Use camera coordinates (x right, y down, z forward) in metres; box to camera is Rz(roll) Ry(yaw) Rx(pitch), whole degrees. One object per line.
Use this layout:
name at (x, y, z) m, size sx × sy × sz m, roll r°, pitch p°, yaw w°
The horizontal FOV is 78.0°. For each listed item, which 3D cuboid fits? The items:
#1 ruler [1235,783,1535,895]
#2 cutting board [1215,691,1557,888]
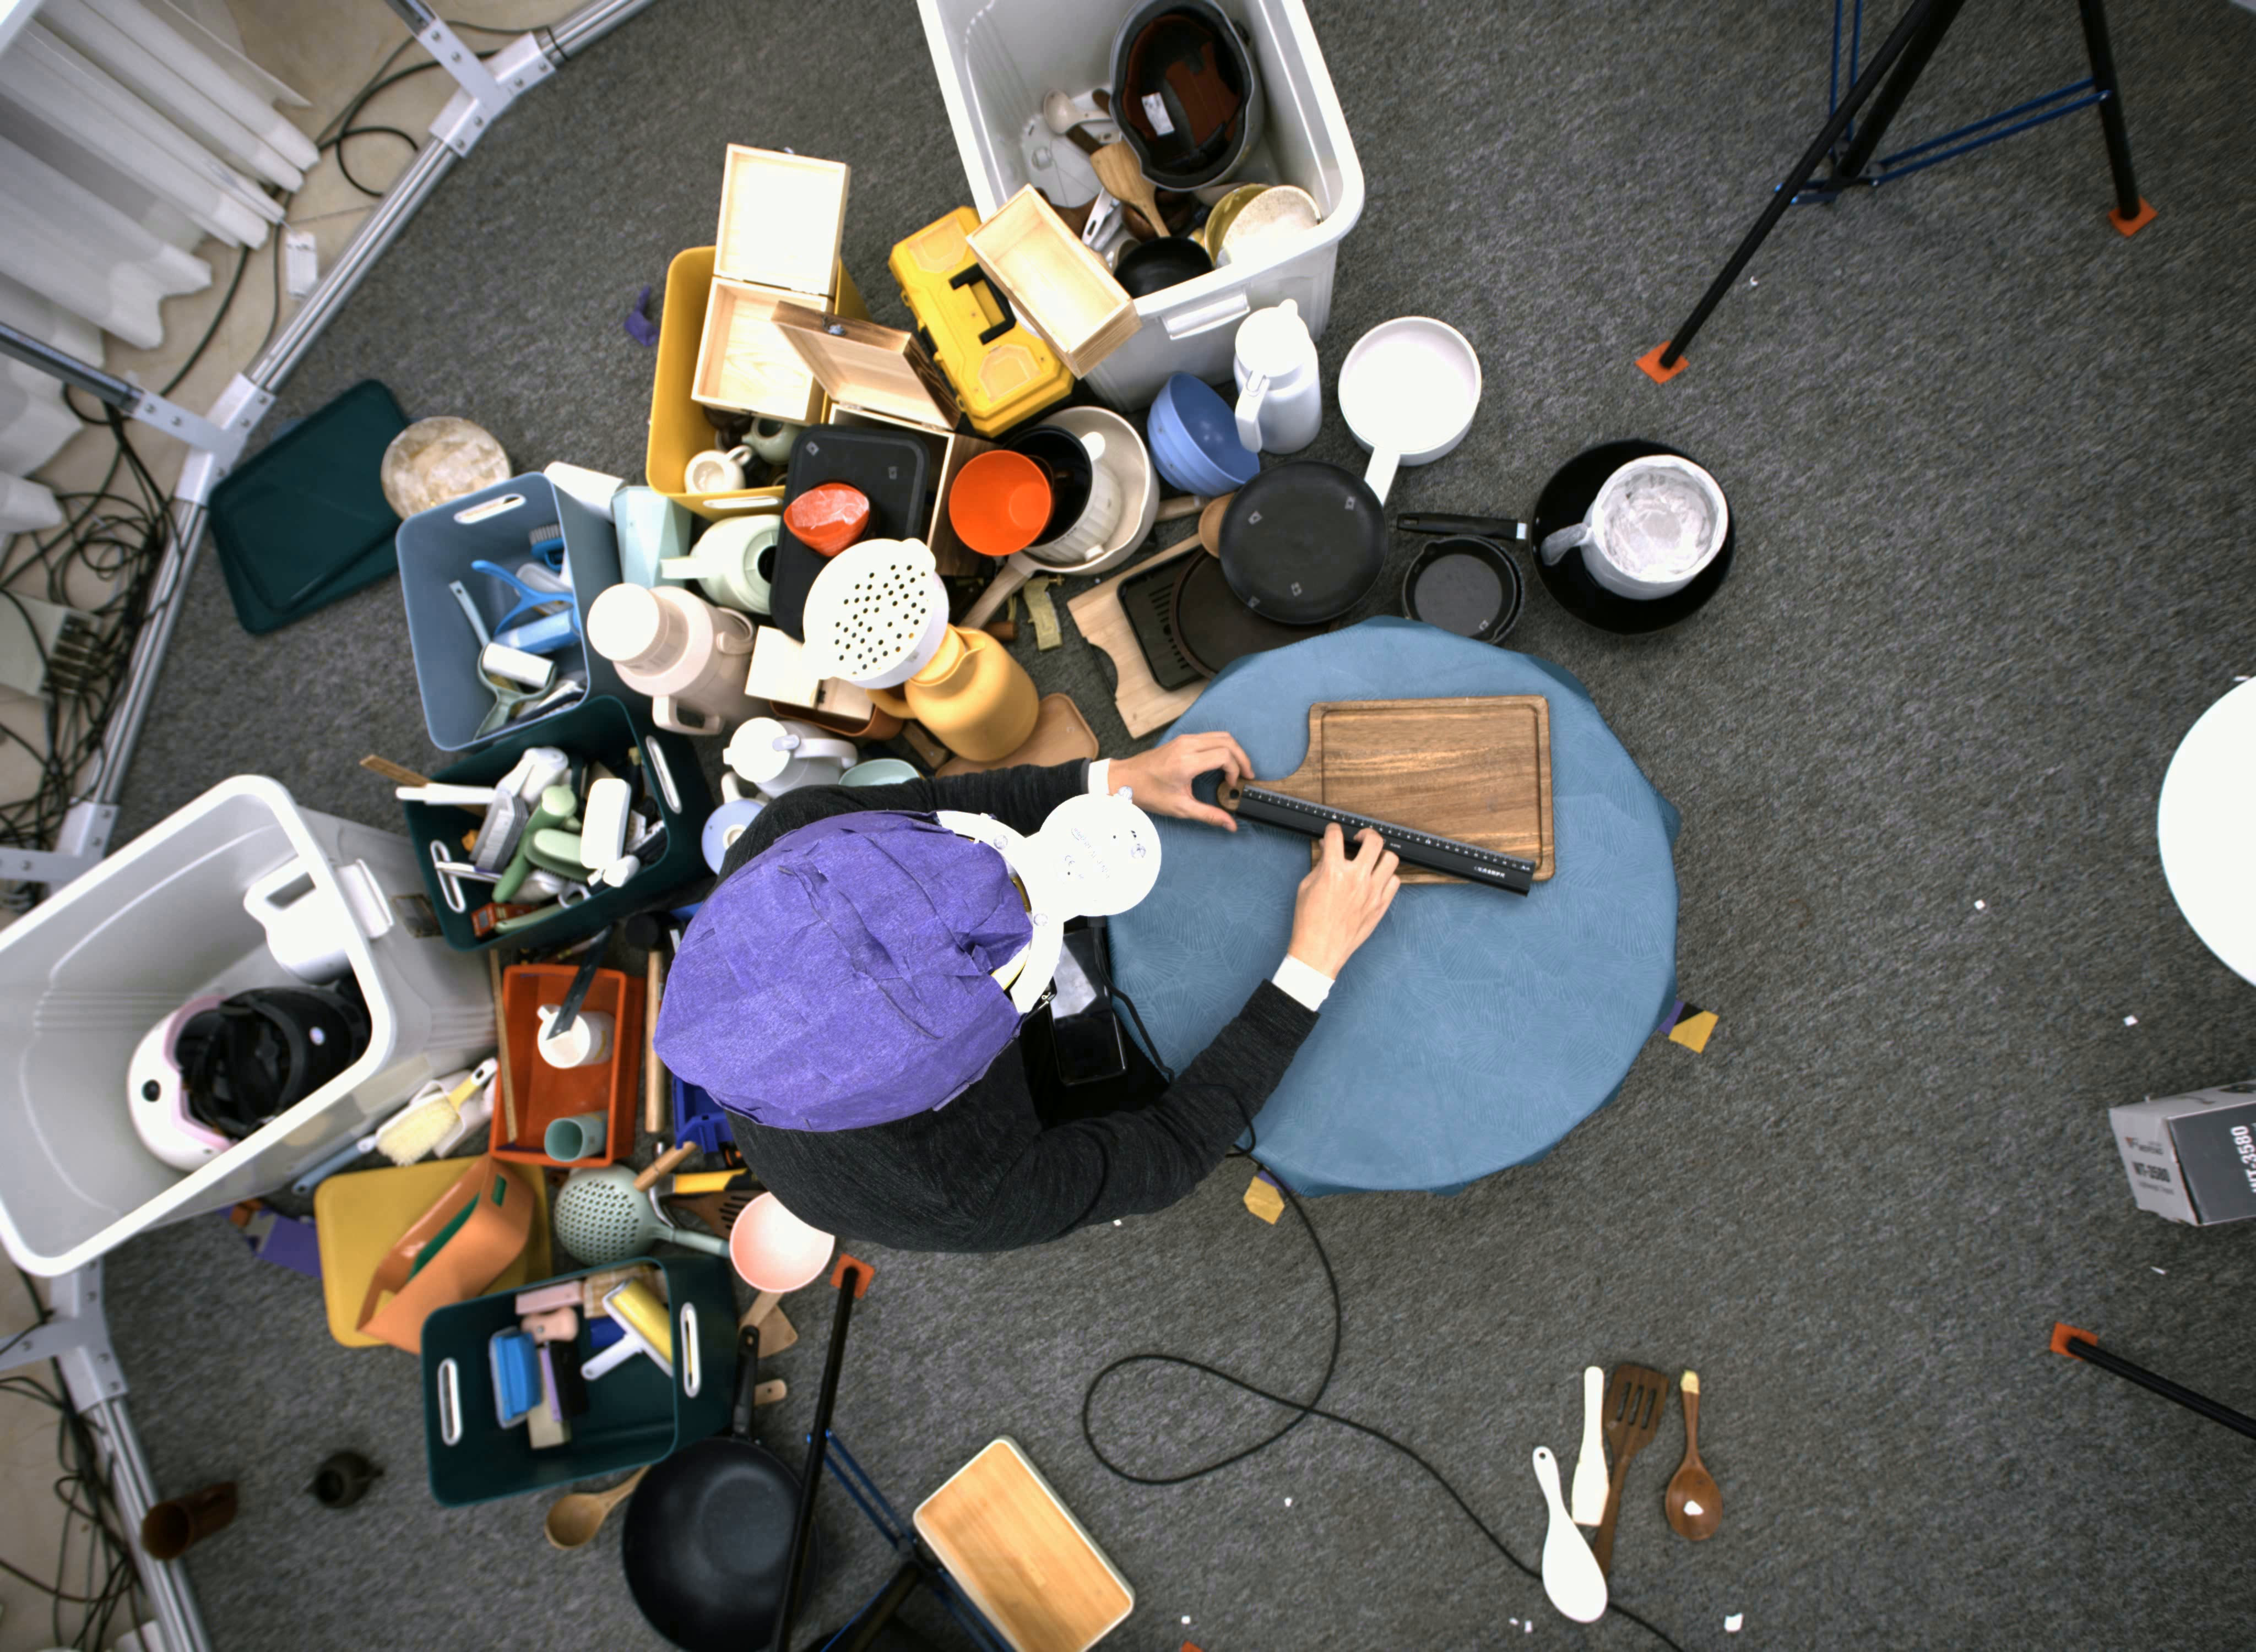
ruler at (0.265, 0.010, 1.428) m, size 0.313 × 0.017 × 0.039 m, roll 16°, pitch 83°, yaw 12°
cutting board at (0.268, -0.038, 1.456) m, size 0.353 × 0.023 × 0.200 m, roll -2°, pitch 86°, yaw 11°
